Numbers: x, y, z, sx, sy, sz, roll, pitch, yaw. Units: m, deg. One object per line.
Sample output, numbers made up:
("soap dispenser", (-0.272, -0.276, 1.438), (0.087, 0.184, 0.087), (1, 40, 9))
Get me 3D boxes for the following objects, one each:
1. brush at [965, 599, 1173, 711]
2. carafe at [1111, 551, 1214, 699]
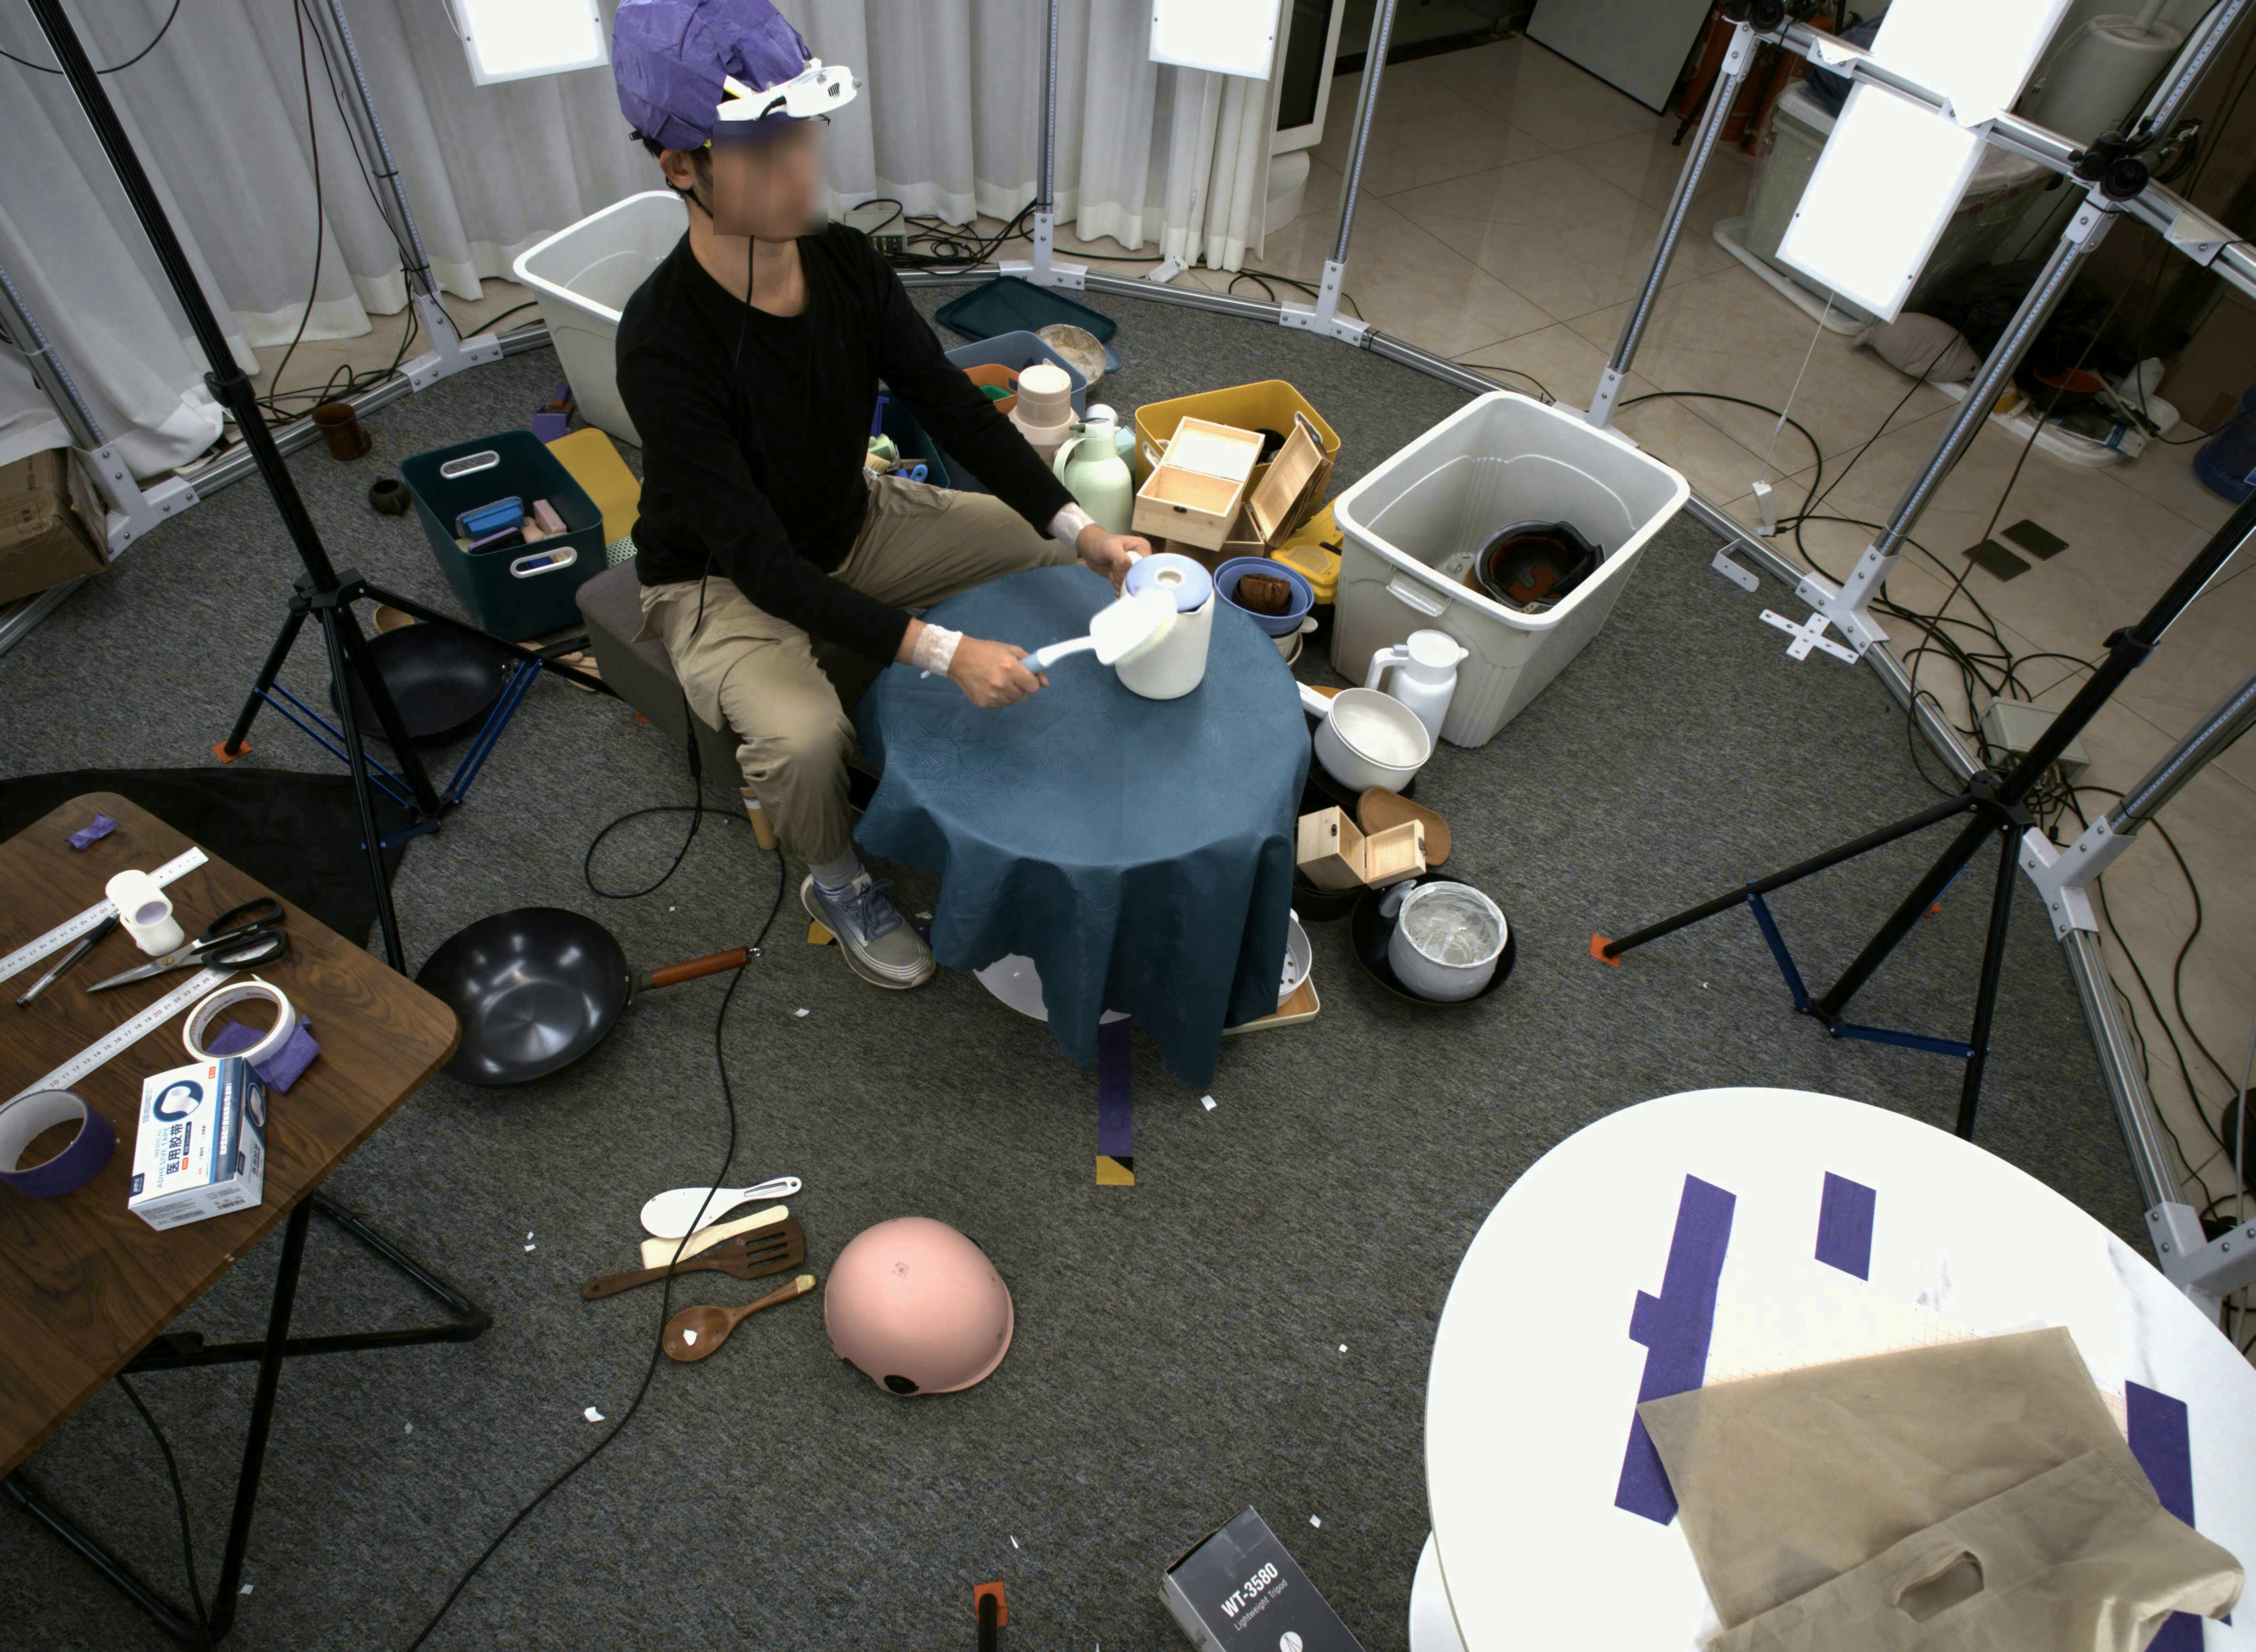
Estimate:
("brush", (-0.075, -0.221, 1.703), (0.324, 0.083, 0.085), (-23, 36, 28))
("carafe", (0.037, -0.297, 1.819), (0.133, 0.178, 0.195), (-25, 54, -24))
